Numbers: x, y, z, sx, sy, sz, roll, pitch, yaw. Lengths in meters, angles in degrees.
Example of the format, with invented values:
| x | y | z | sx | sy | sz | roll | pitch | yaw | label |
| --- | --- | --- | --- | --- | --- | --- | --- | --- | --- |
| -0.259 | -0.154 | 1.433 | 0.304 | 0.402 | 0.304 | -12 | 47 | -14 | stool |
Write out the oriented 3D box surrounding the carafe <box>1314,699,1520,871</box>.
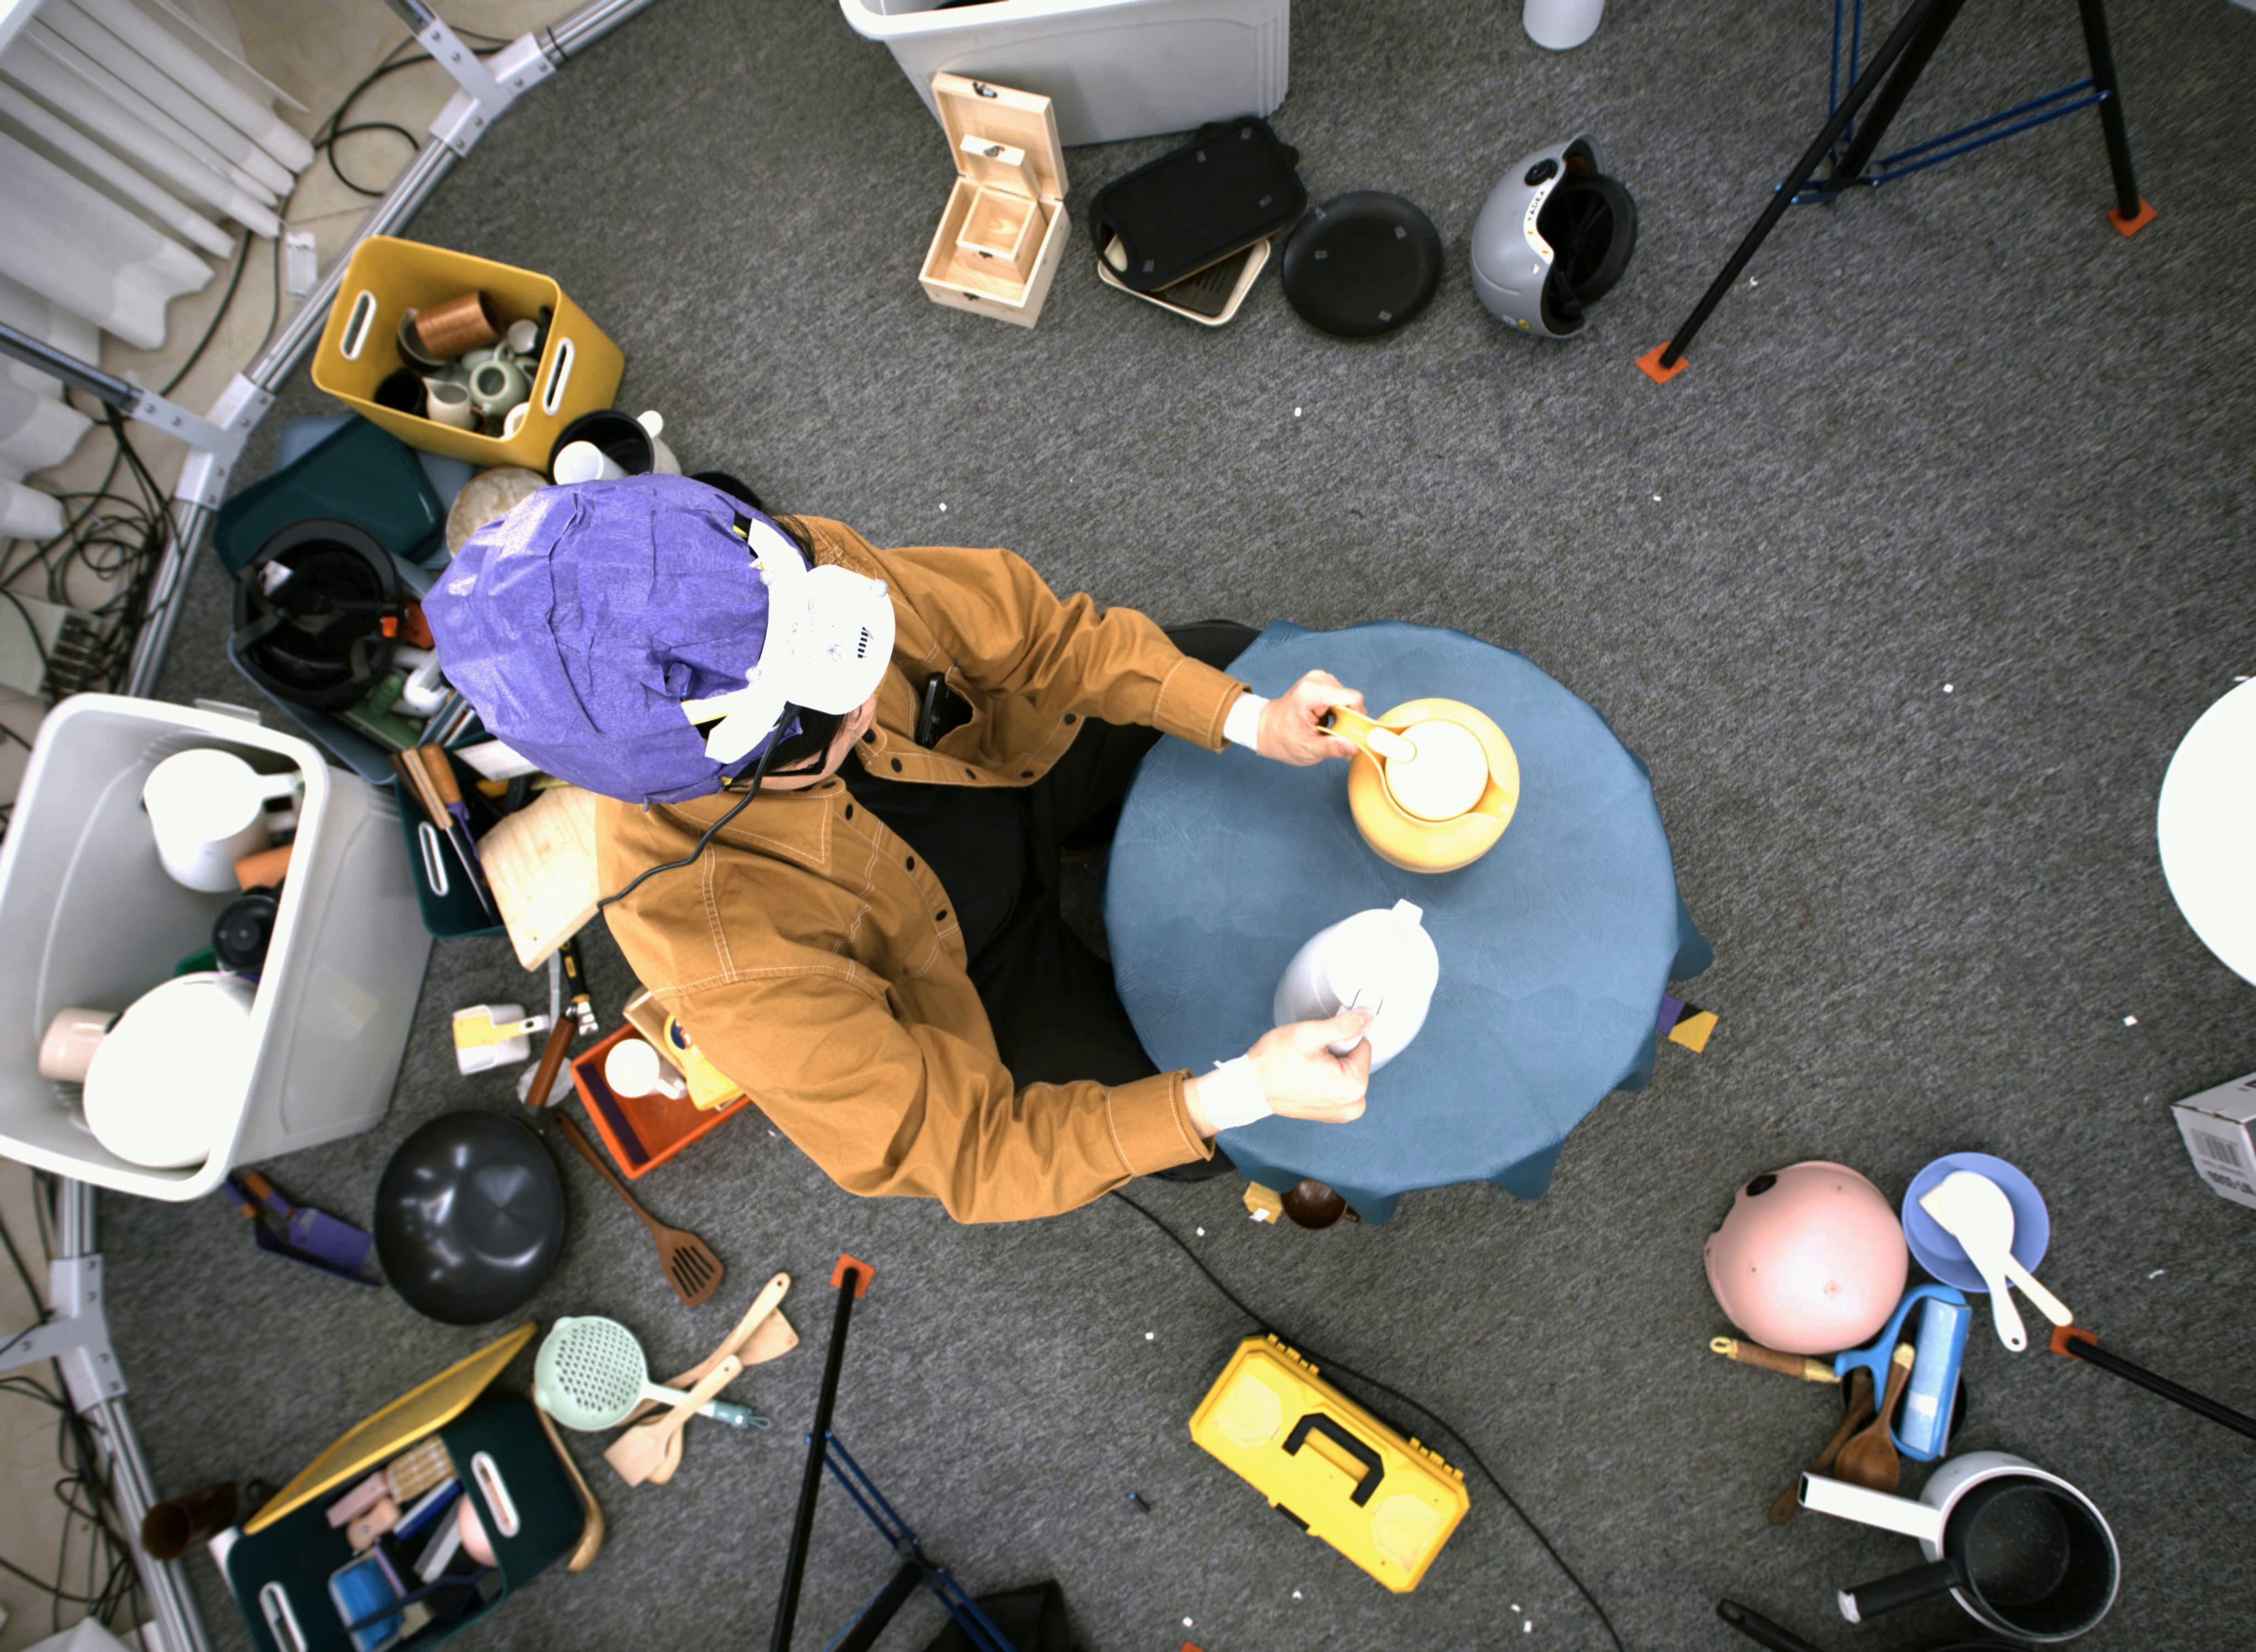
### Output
| x | y | z | sx | sy | sz | roll | pitch | yaw | label |
| --- | --- | --- | --- | --- | --- | --- | --- | --- | --- |
| 0.275 | -0.053 | 1.318 | 0.202 | 0.260 | 0.164 | 32 | 92 | 10 | carafe |

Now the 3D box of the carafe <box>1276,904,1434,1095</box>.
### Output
| x | y | z | sx | sy | sz | roll | pitch | yaw | label |
| --- | --- | --- | --- | --- | --- | --- | --- | --- | --- |
| 0.199 | 0.164 | 1.235 | 0.132 | 0.251 | 0.166 | 28 | 78 | 8 | carafe |
